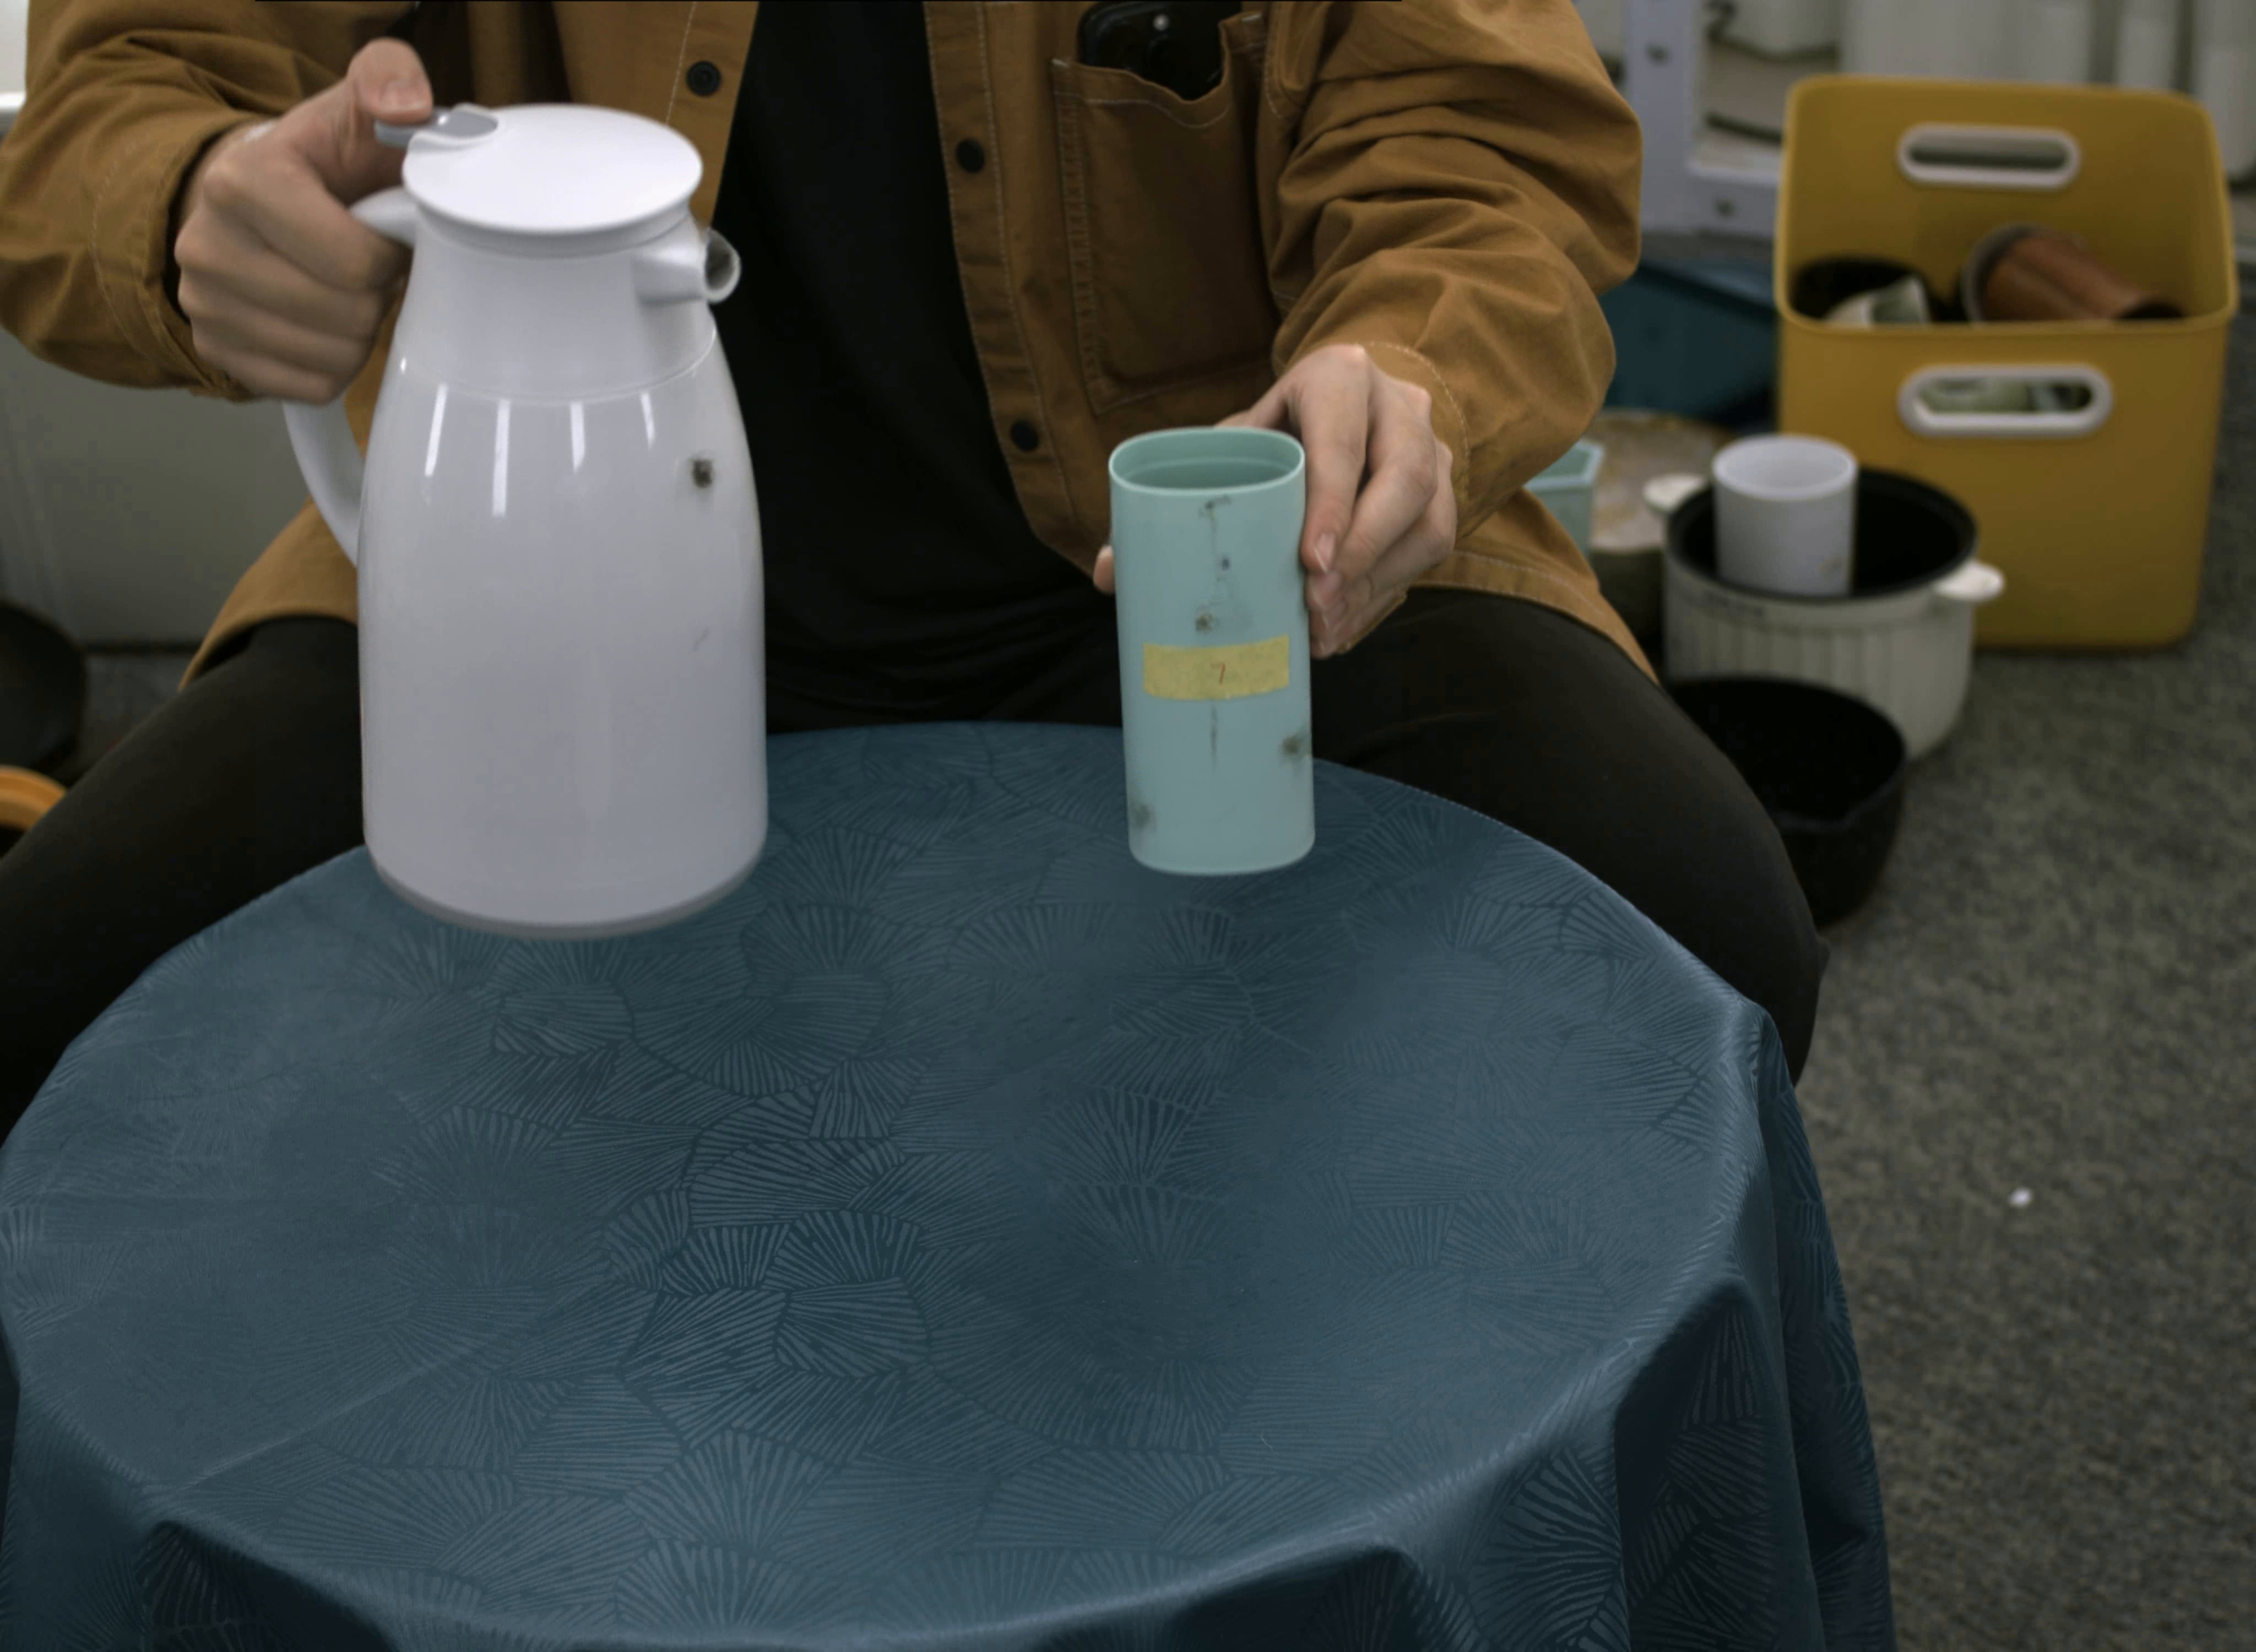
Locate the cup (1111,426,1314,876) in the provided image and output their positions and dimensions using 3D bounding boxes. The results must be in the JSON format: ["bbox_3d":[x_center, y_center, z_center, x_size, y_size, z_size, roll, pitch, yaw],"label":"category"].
[{"bbox_3d":[0.028,-0.057,1.801,0.066,0.131,0.067,-2,21,1],"label":"cup"}]

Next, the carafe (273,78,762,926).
[{"bbox_3d":[-0.197,-0.112,1.787,0.167,0.245,0.135,16,32,22],"label":"carafe"}]
